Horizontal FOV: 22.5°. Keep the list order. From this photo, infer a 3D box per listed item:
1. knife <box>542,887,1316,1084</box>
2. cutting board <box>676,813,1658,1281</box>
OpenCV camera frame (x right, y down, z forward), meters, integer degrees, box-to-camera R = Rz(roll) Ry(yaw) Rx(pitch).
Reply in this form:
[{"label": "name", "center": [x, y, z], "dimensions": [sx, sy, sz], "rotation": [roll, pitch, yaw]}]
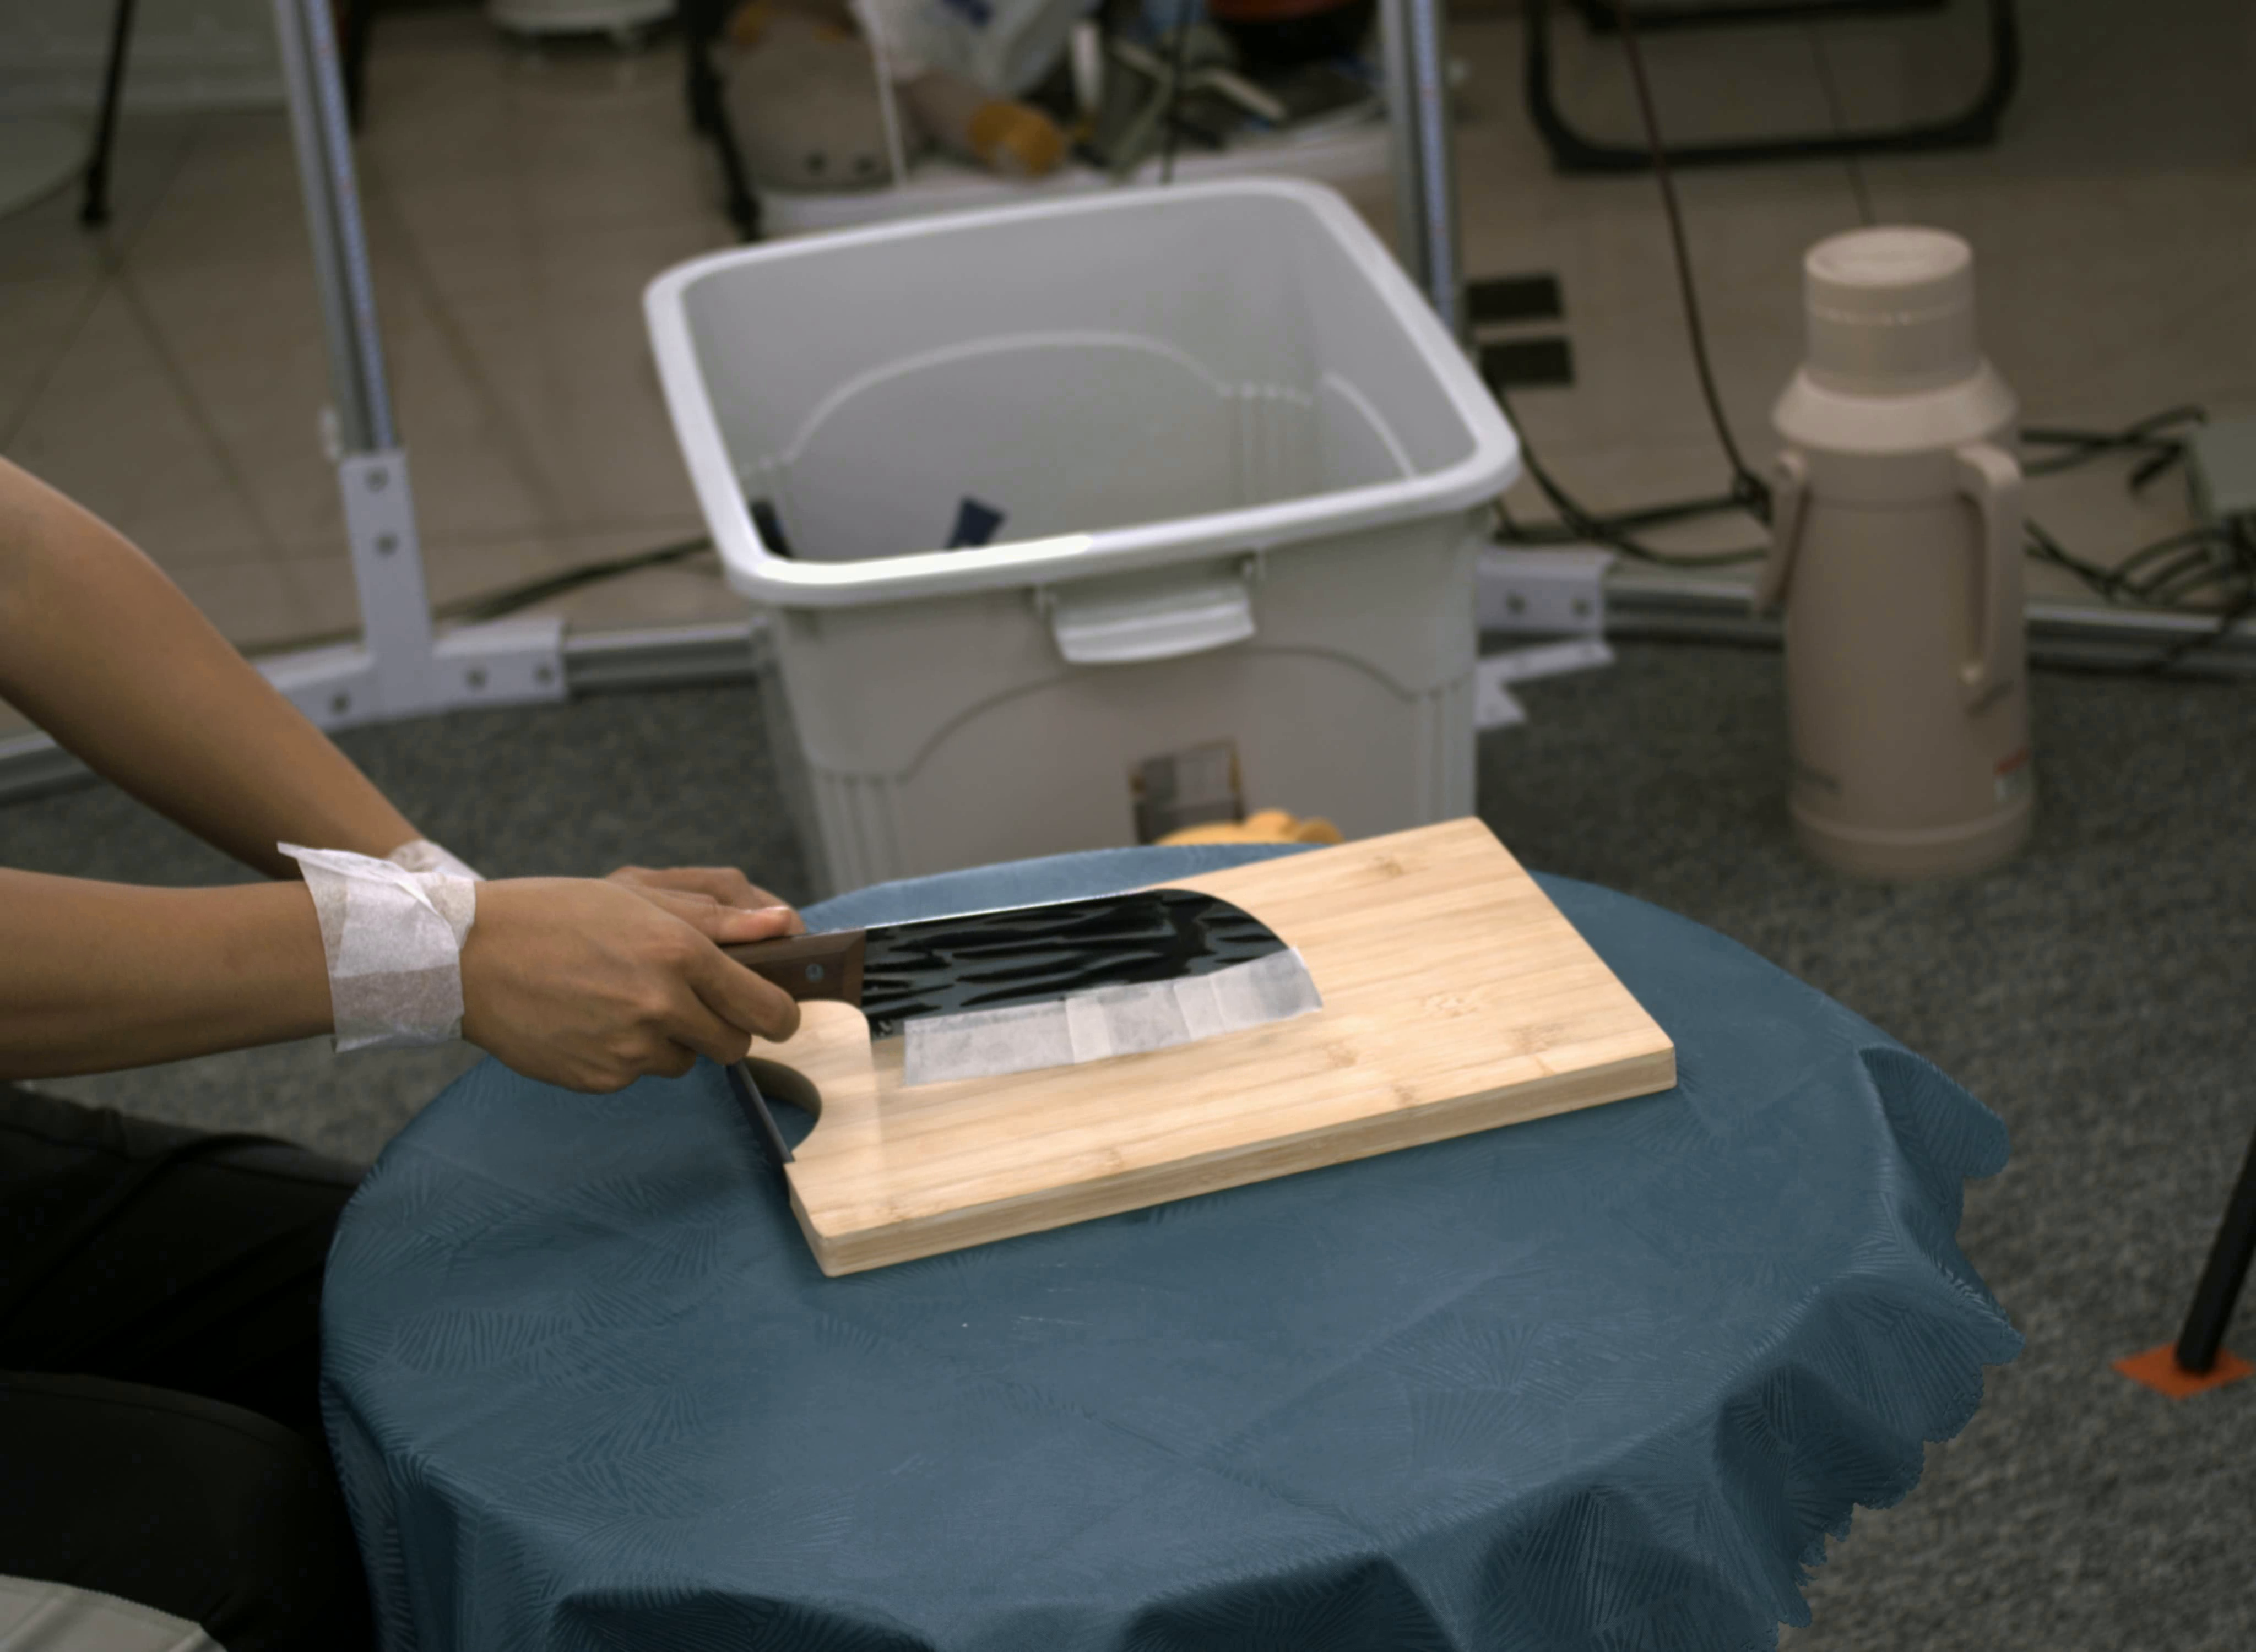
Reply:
[{"label": "knife", "center": [-0.076, 0.065, 2.197], "dimensions": [0.299, 0.069, 0.024], "rotation": [-6, 18, -6]}, {"label": "cutting board", "center": [0.011, 0.083, 2.249], "dimensions": [0.347, 0.024, 0.247], "rotation": [-12, 25, -12]}]
